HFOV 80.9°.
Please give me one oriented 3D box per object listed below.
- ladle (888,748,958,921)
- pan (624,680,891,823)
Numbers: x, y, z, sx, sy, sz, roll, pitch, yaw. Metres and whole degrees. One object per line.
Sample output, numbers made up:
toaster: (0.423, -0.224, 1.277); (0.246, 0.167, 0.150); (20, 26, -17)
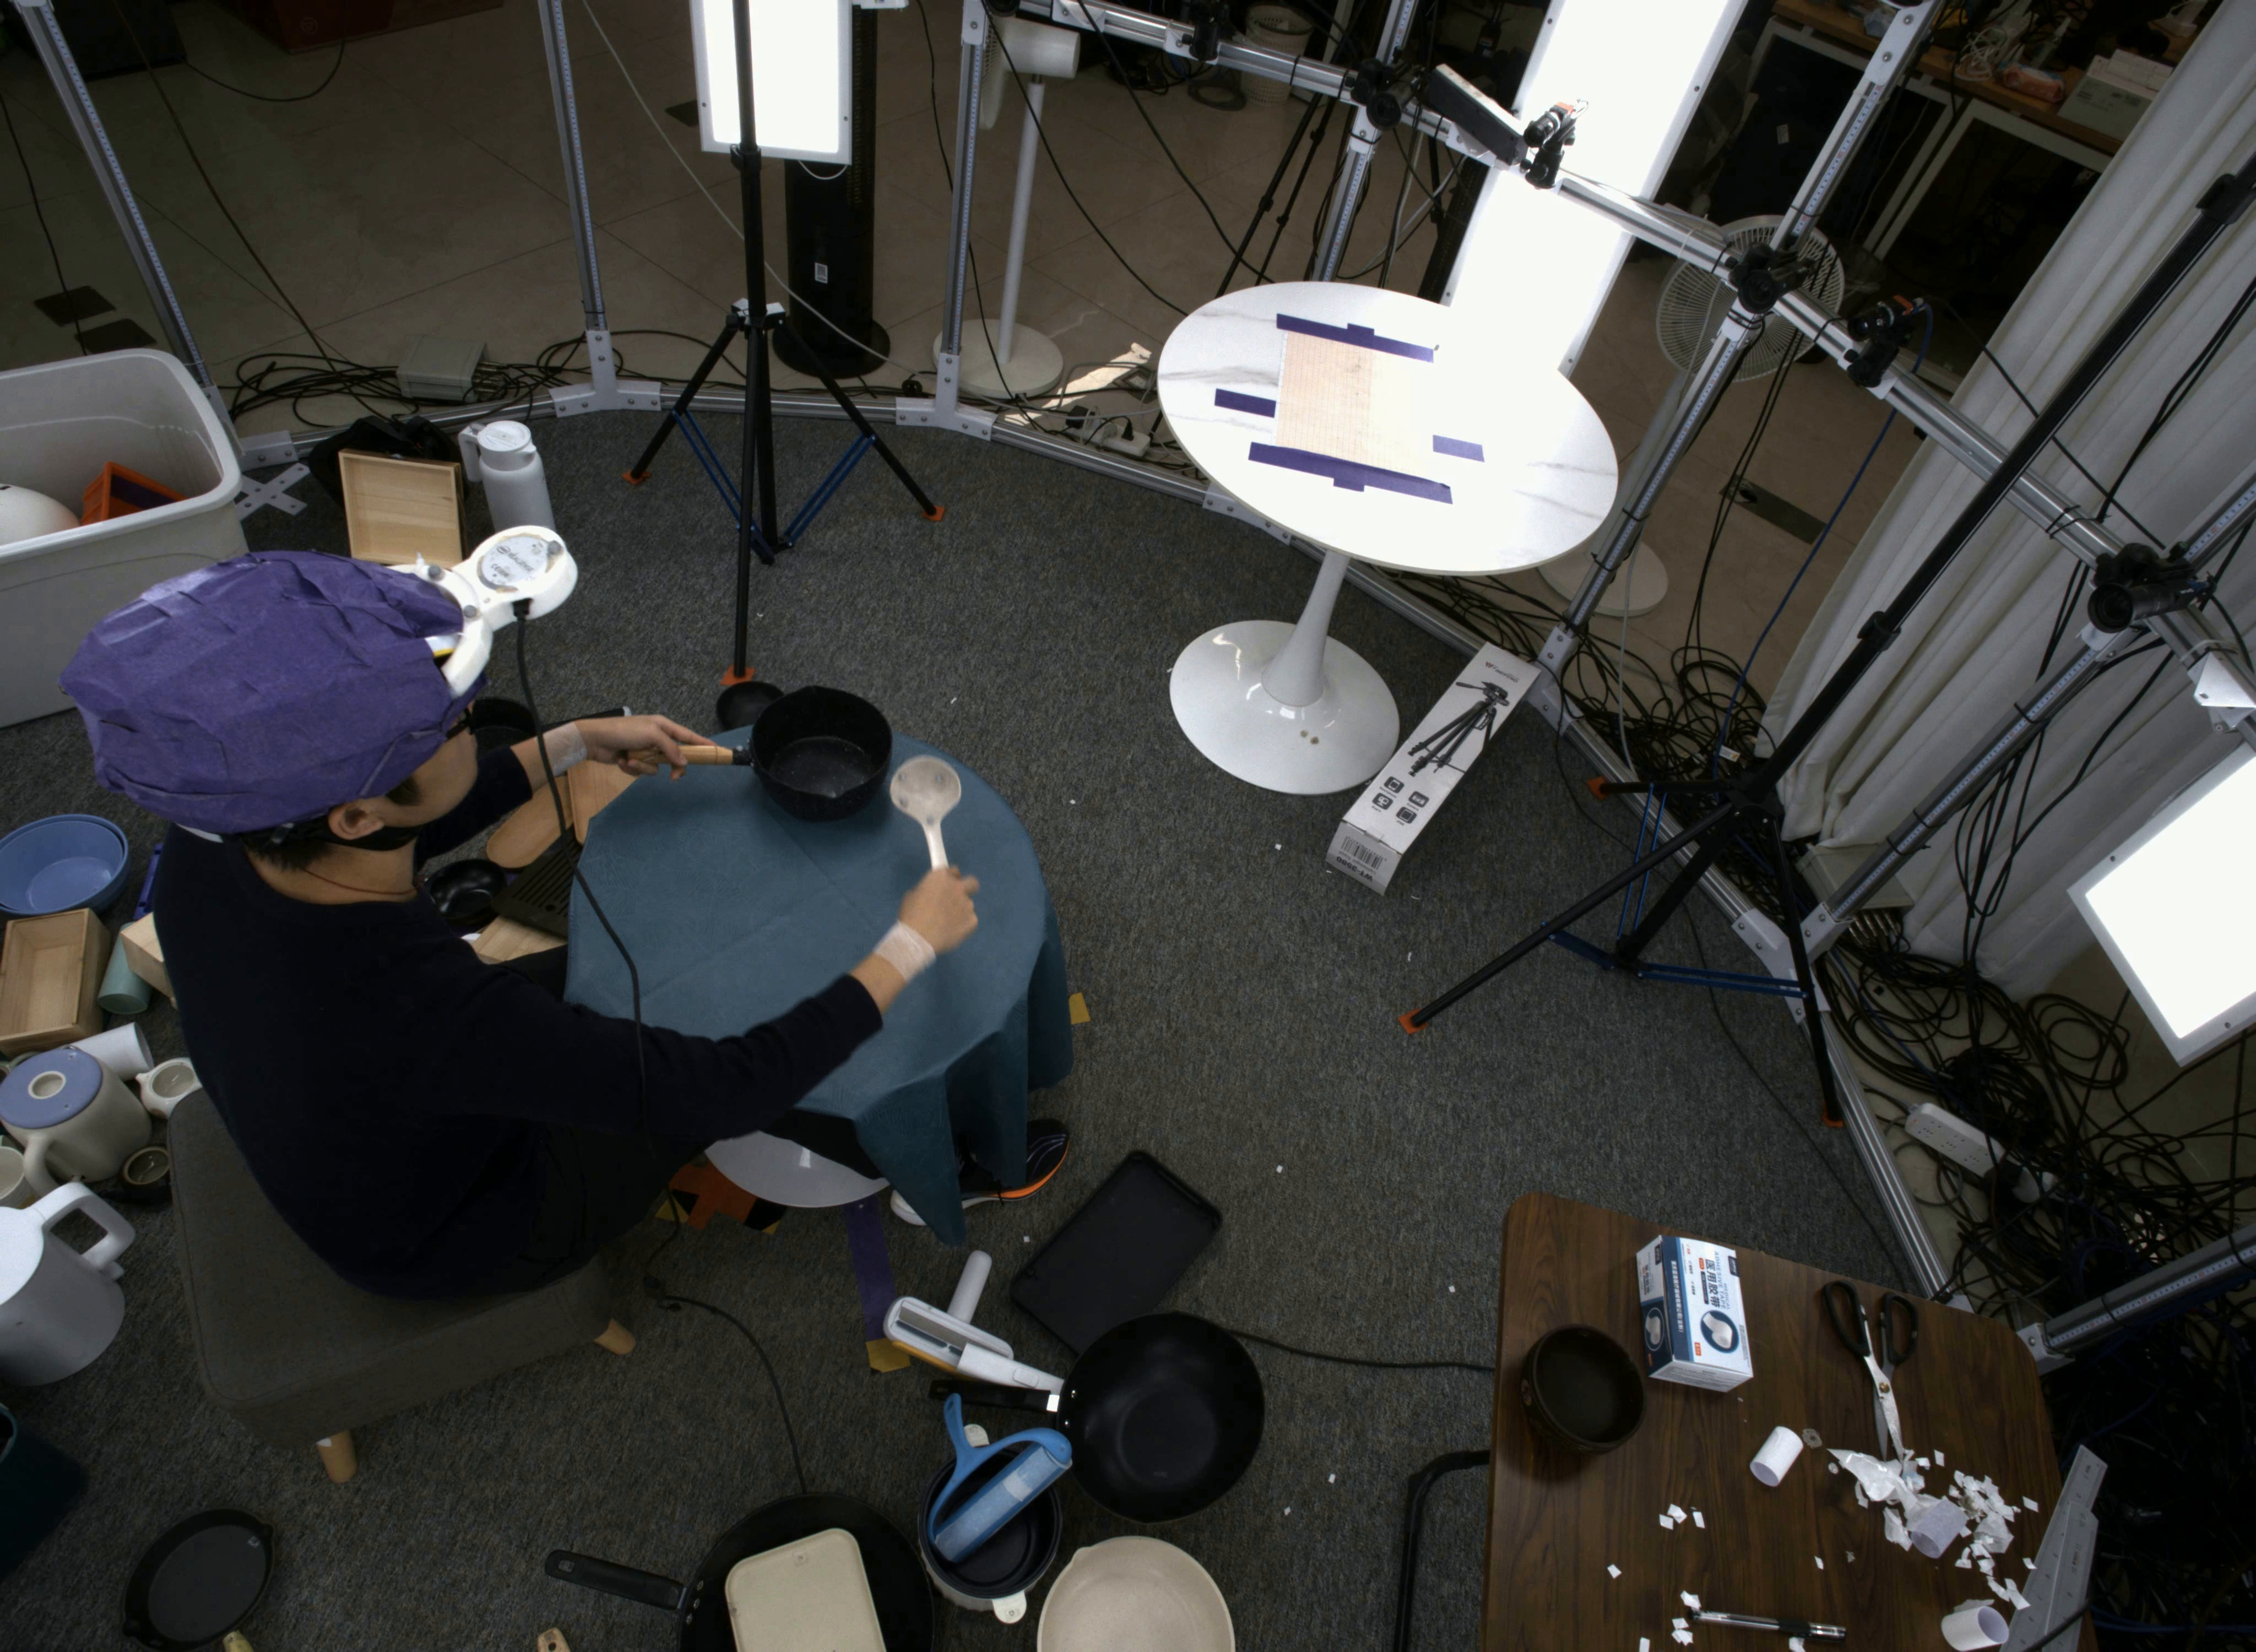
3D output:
ladle: (-0.235, 0.003, 1.570); (0.090, 0.071, 0.266); (-1, 35, -17)
pan: (-0.482, -0.085, 1.693); (0.345, 0.110, 0.202); (-8, 57, -22)
